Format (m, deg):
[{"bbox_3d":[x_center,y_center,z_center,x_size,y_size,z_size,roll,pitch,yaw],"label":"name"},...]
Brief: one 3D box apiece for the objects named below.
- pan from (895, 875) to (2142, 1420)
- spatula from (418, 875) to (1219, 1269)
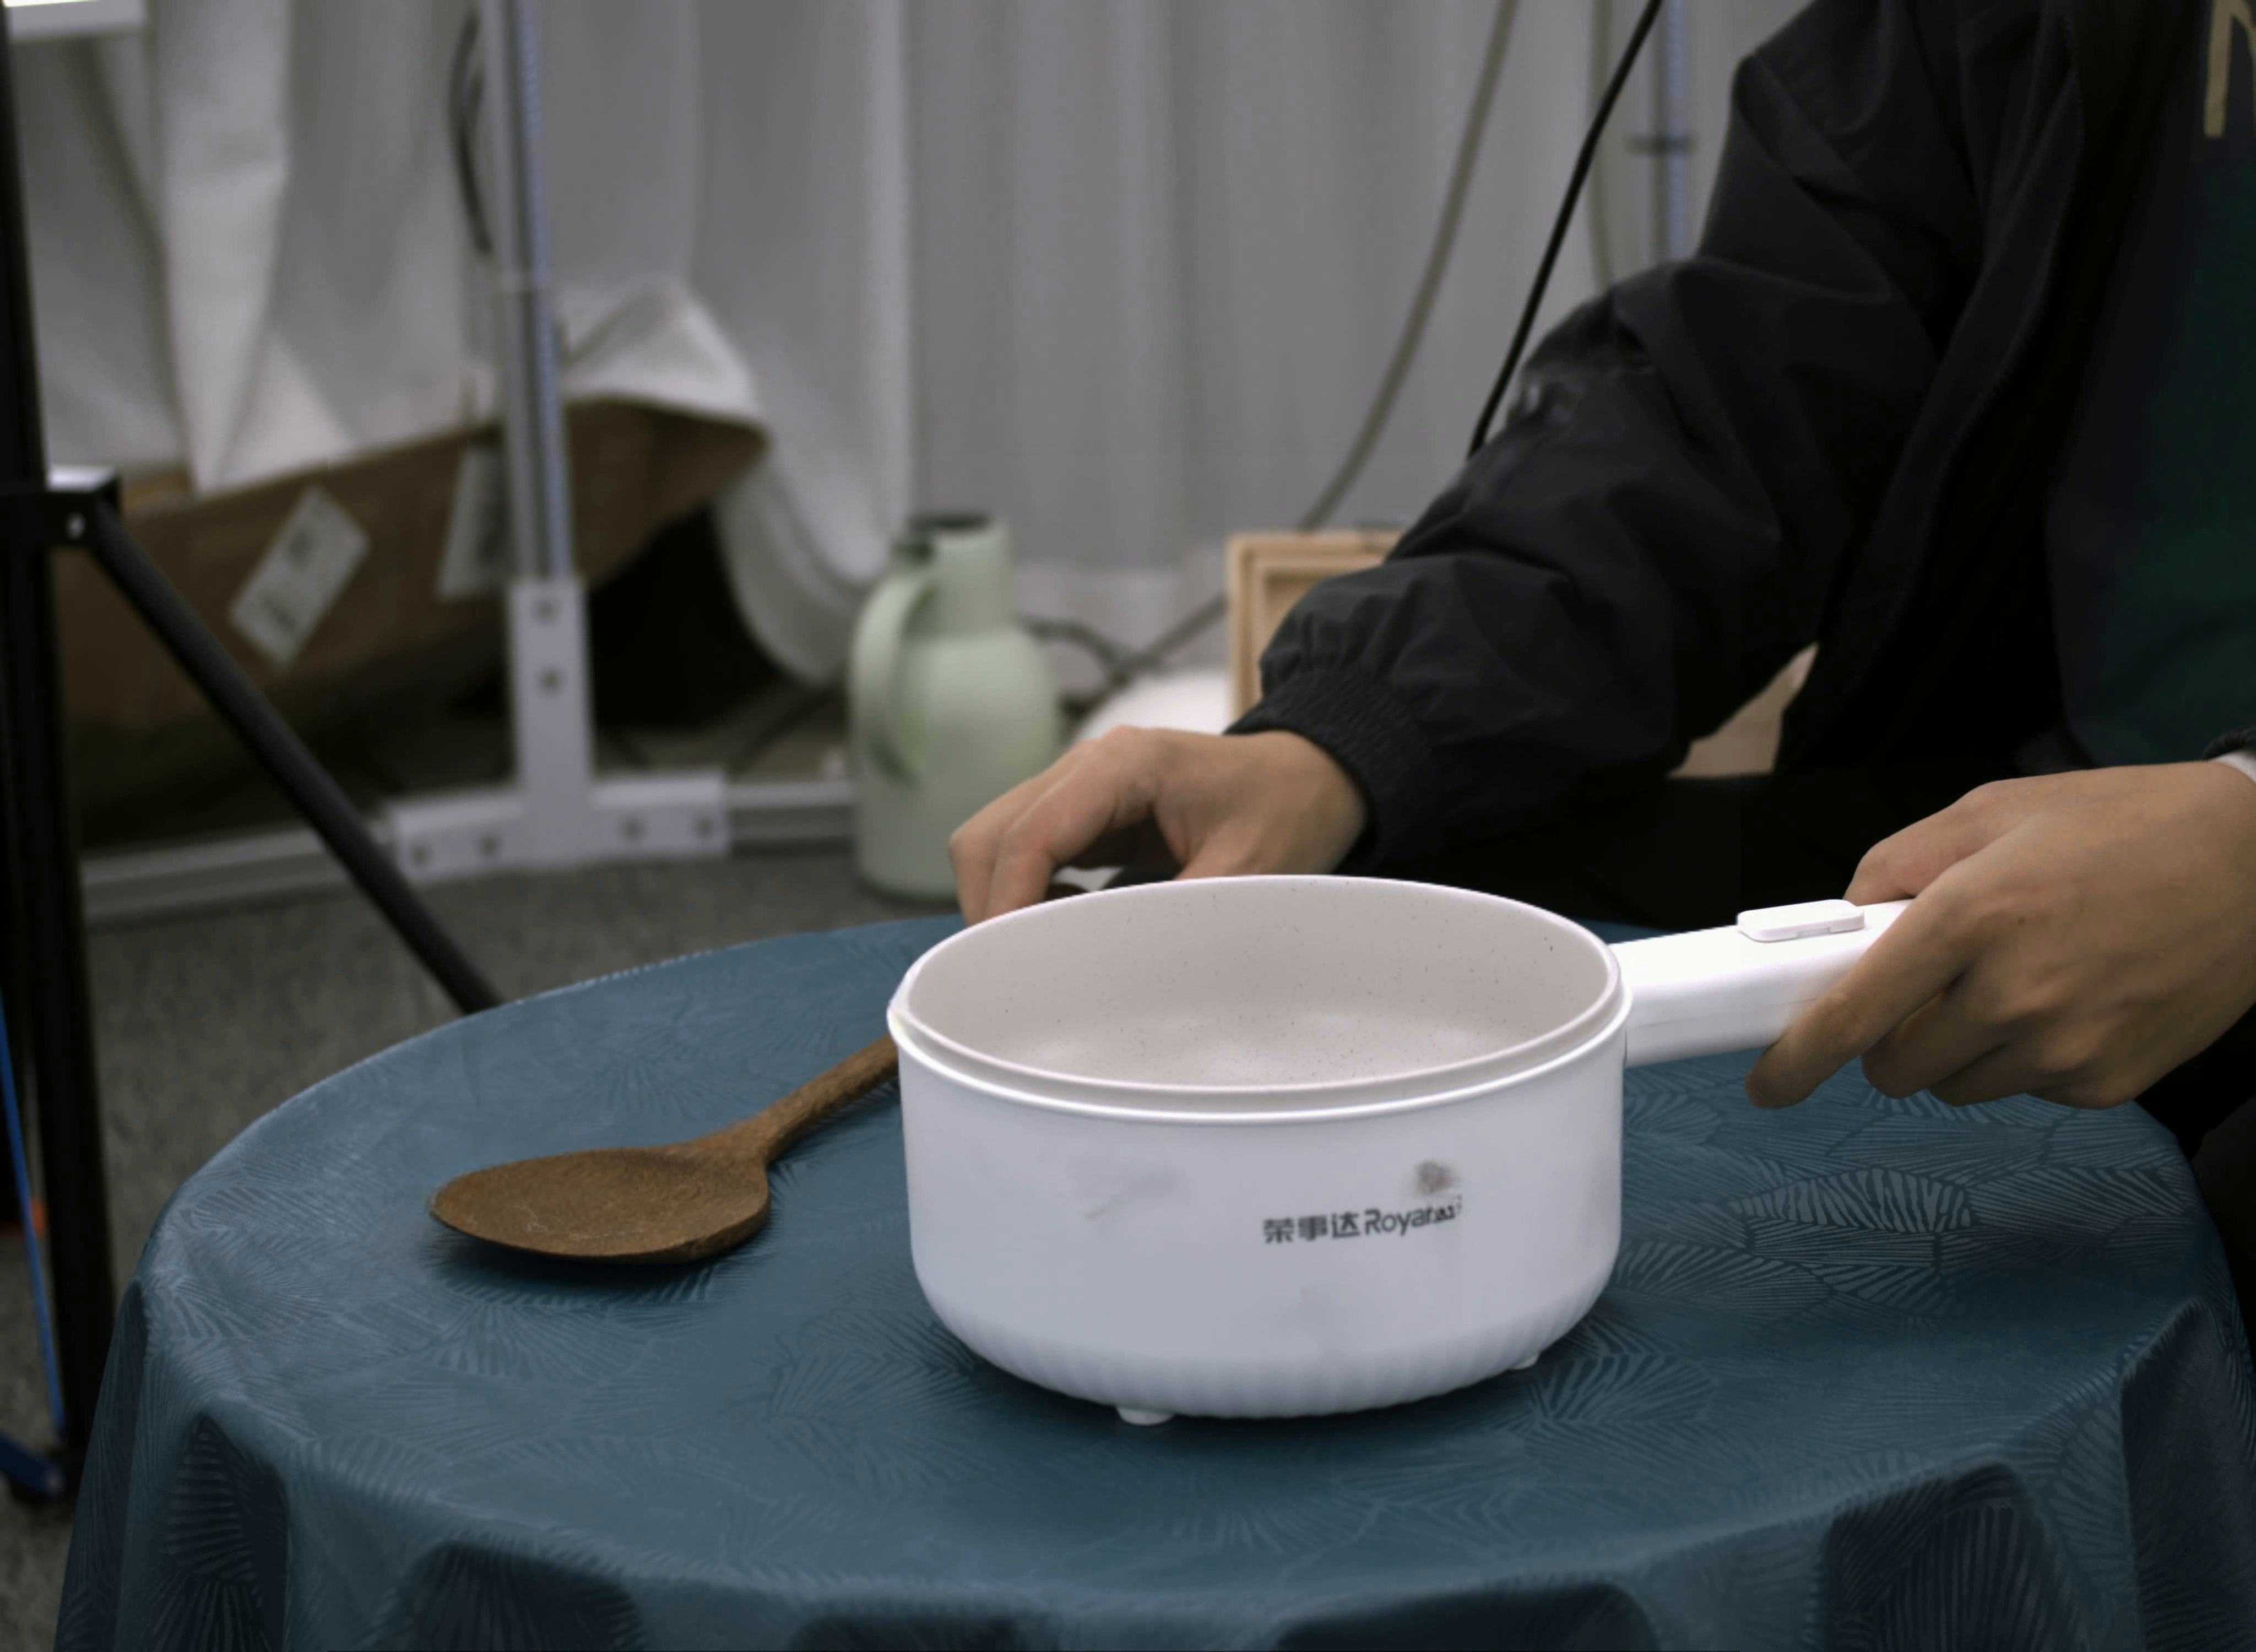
[{"bbox_3d":[0.111,0.082,1.456,0.349,0.102,0.204,-5,15,-15],"label":"pan"},{"bbox_3d":[-0.075,0.071,1.664,0.098,0.016,0.379,8,21,31],"label":"spatula"}]
